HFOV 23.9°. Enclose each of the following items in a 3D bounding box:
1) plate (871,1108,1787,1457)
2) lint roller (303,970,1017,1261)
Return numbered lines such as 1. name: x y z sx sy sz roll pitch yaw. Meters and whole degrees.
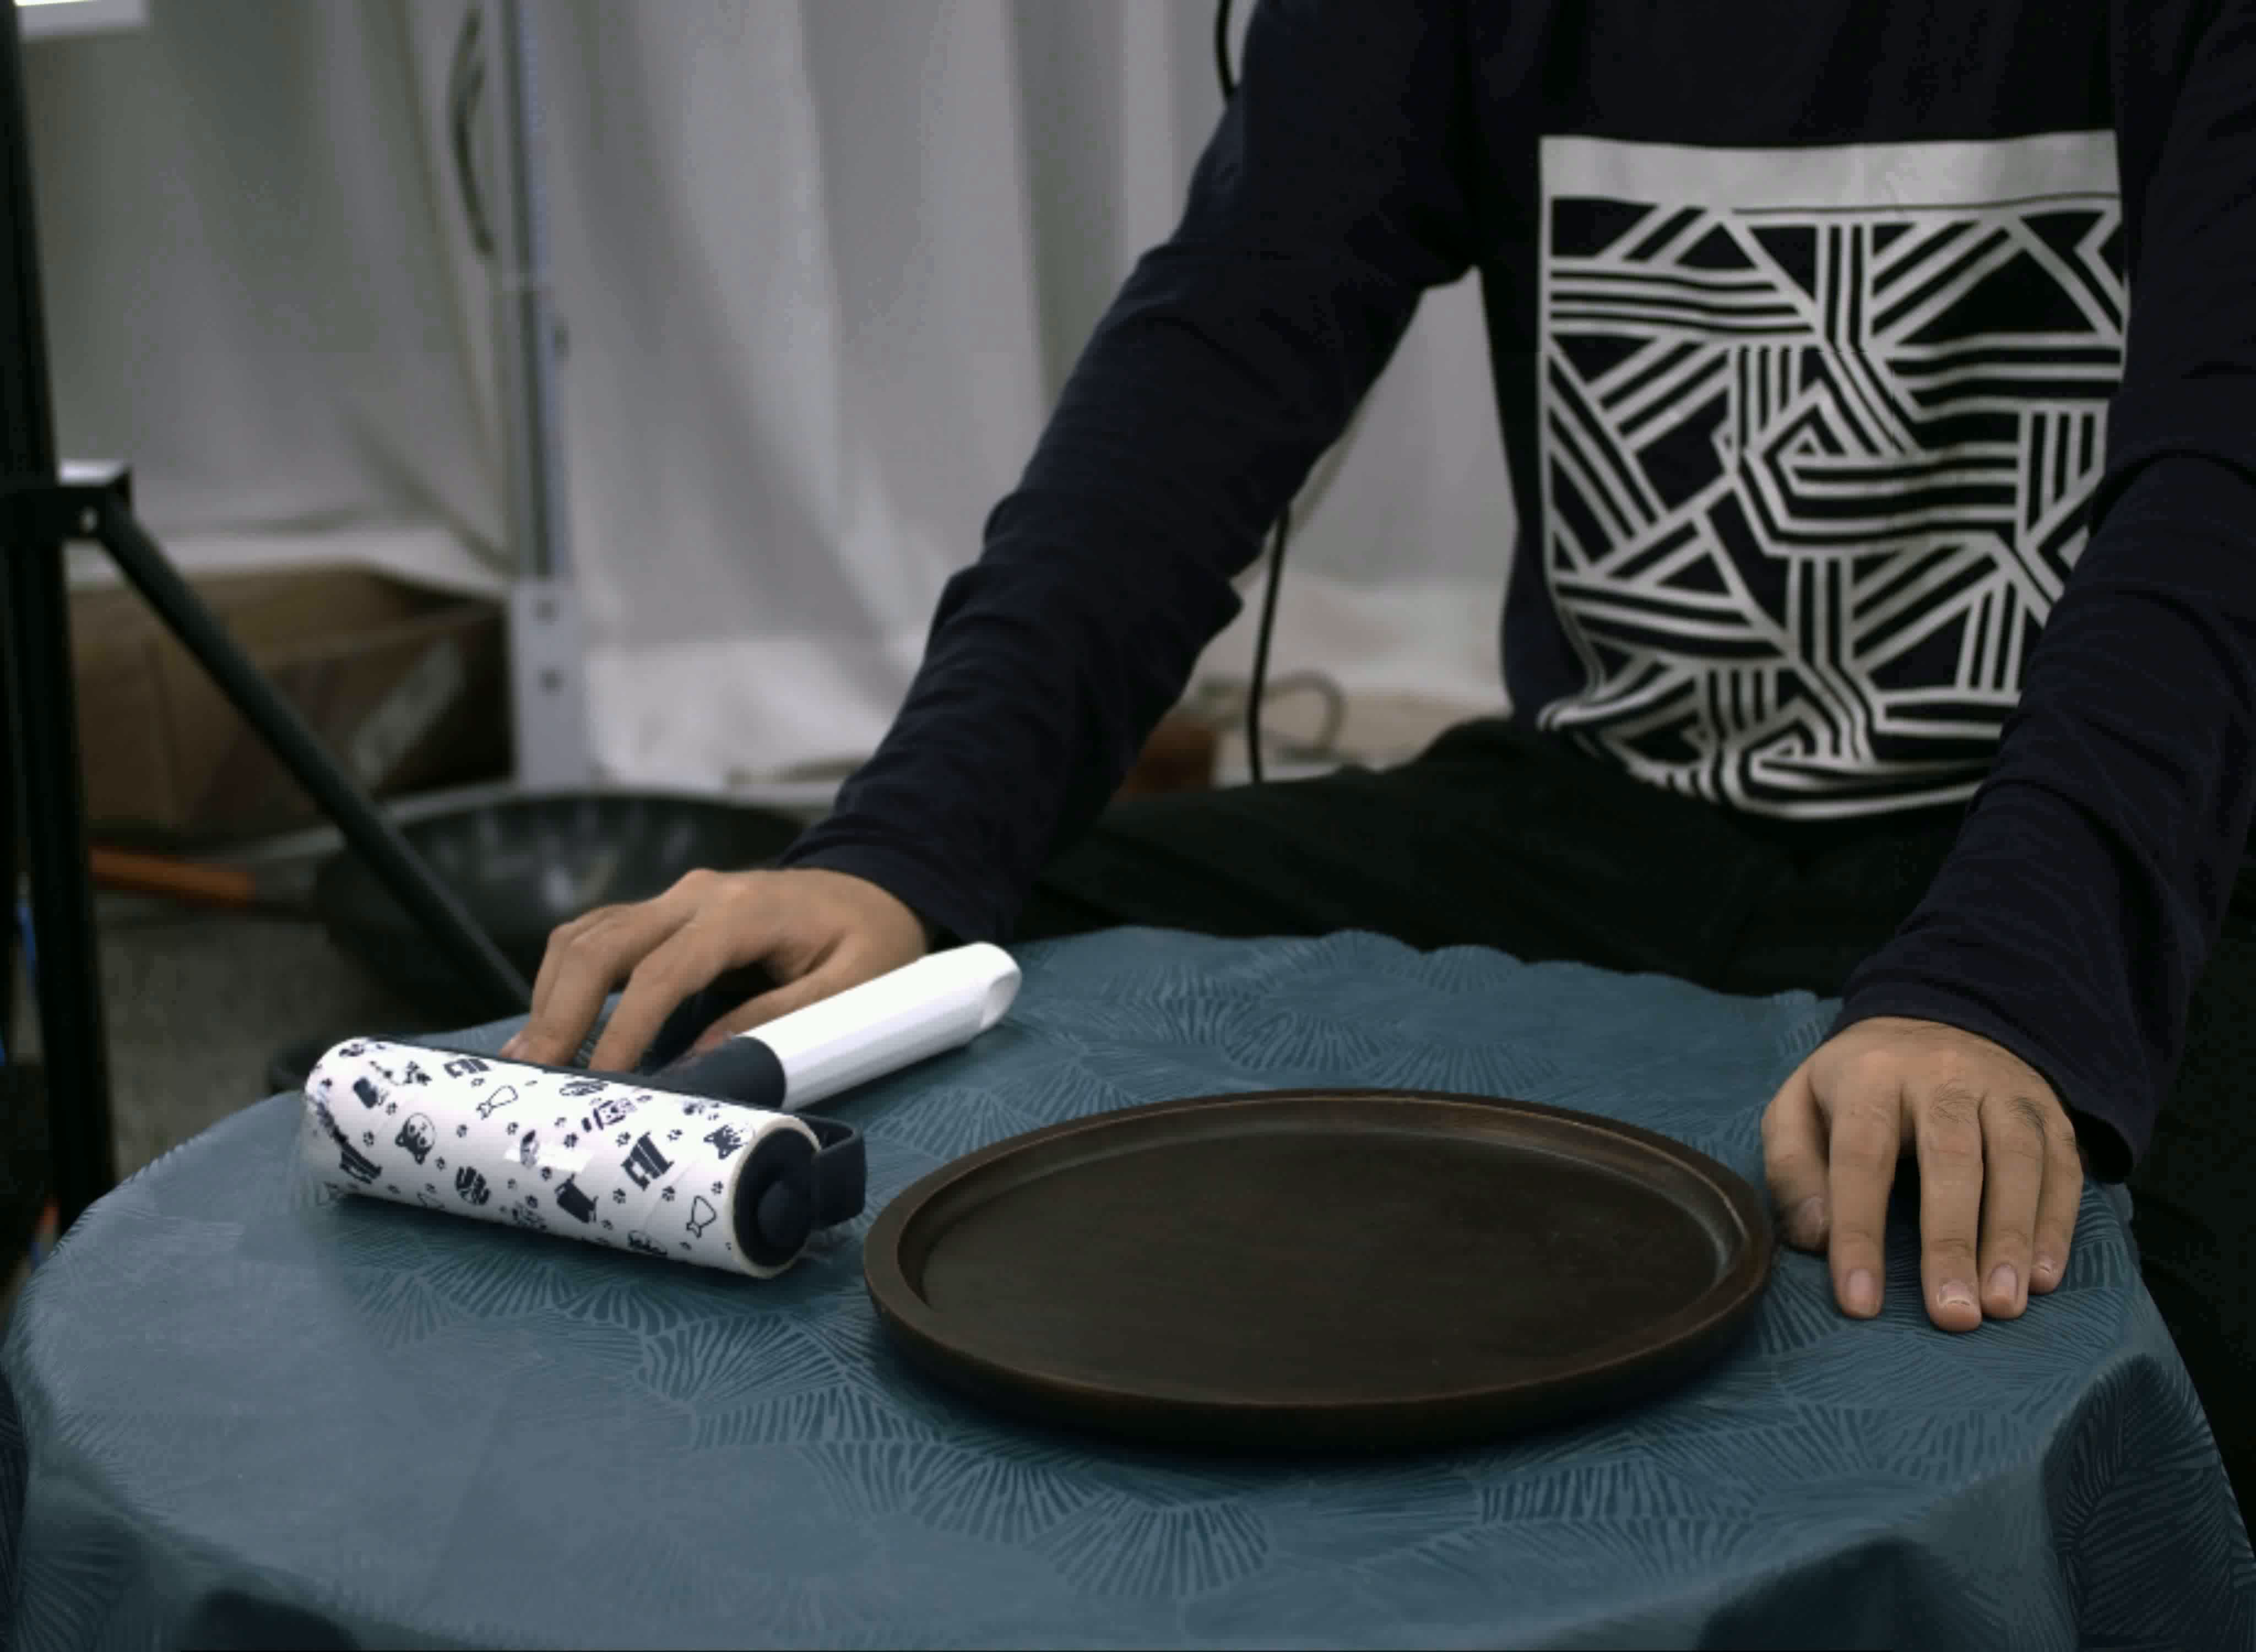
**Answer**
1. plate: 0.055 0.123 1.462 0.253 0.029 0.256 -2 14 -1
2. lint roller: -0.111 0.073 1.629 0.180 0.050 0.242 7 16 33
